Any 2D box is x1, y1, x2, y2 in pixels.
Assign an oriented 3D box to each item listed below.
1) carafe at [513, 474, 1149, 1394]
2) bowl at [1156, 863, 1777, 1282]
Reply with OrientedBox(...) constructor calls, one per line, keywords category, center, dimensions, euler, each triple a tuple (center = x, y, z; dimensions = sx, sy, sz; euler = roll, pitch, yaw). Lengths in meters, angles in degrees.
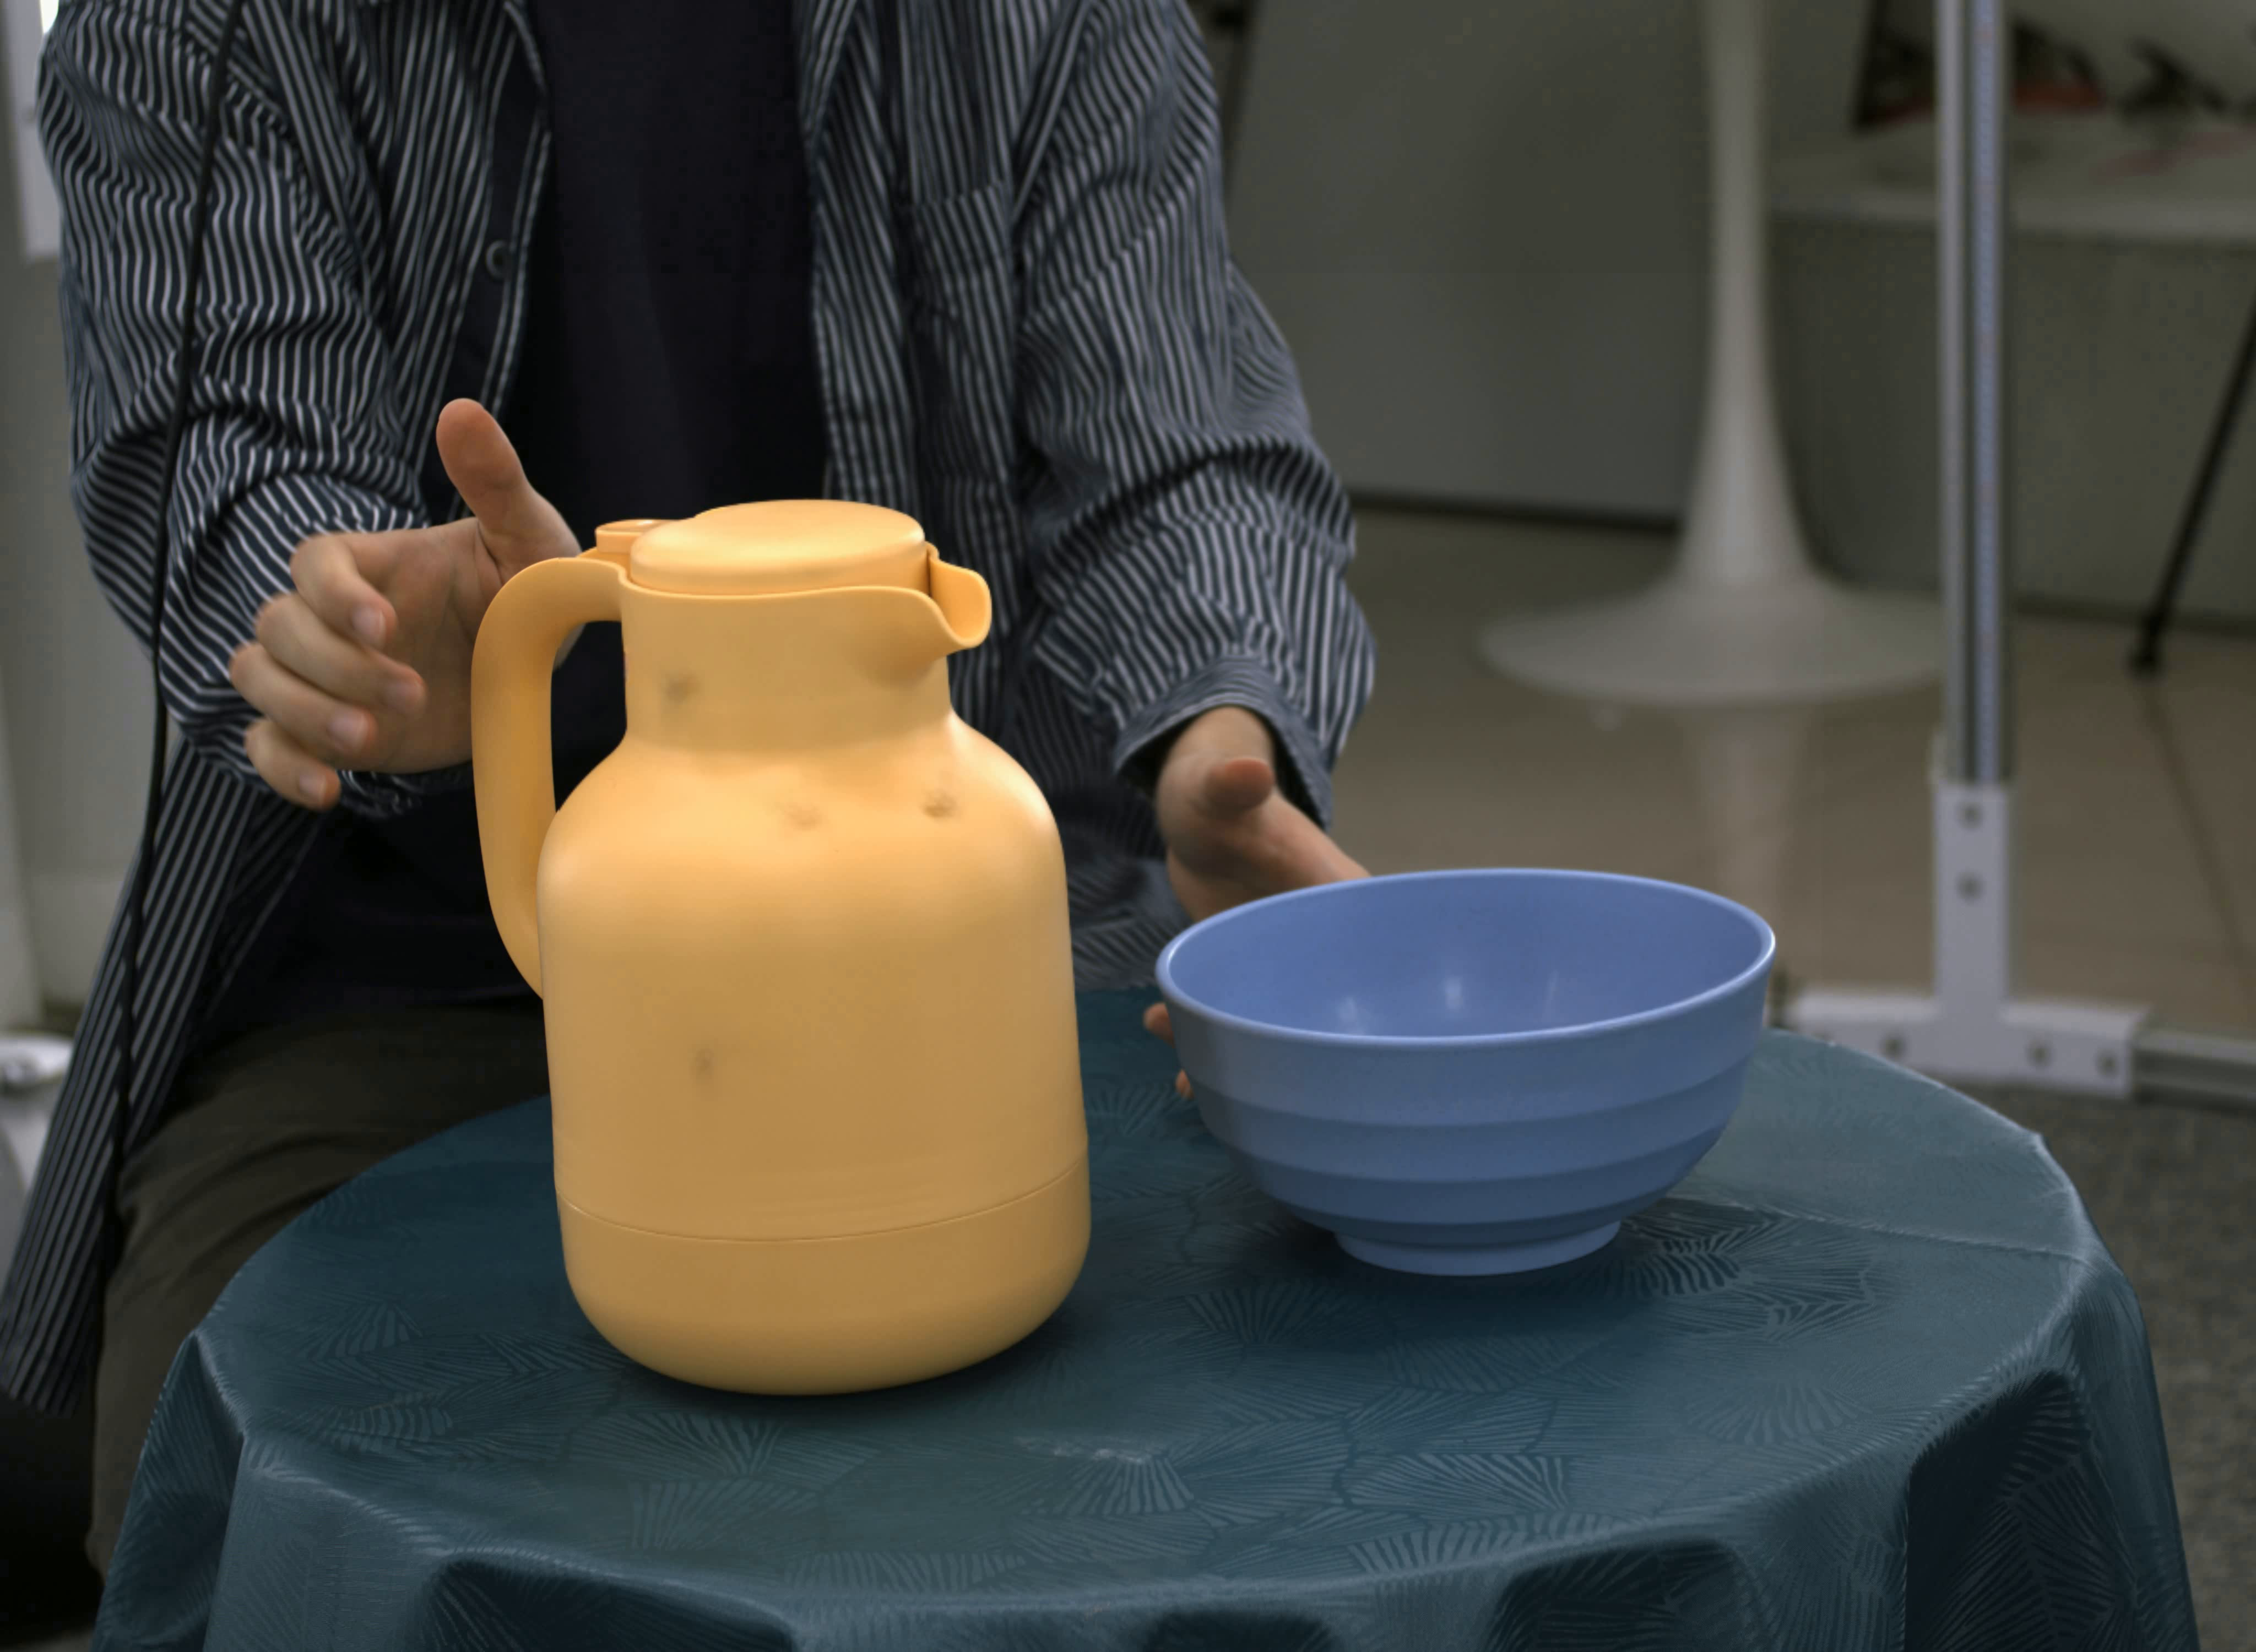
OrientedBox(category="carafe", center=(-0.096, 0.026, 1.633), dimensions=(0.204, 0.263, 0.160), euler=(6, 16, 37))
OrientedBox(category="bowl", center=(0.108, 0.083, 1.694), dimensions=(0.194, 0.096, 0.197), euler=(-4, 14, 0))
